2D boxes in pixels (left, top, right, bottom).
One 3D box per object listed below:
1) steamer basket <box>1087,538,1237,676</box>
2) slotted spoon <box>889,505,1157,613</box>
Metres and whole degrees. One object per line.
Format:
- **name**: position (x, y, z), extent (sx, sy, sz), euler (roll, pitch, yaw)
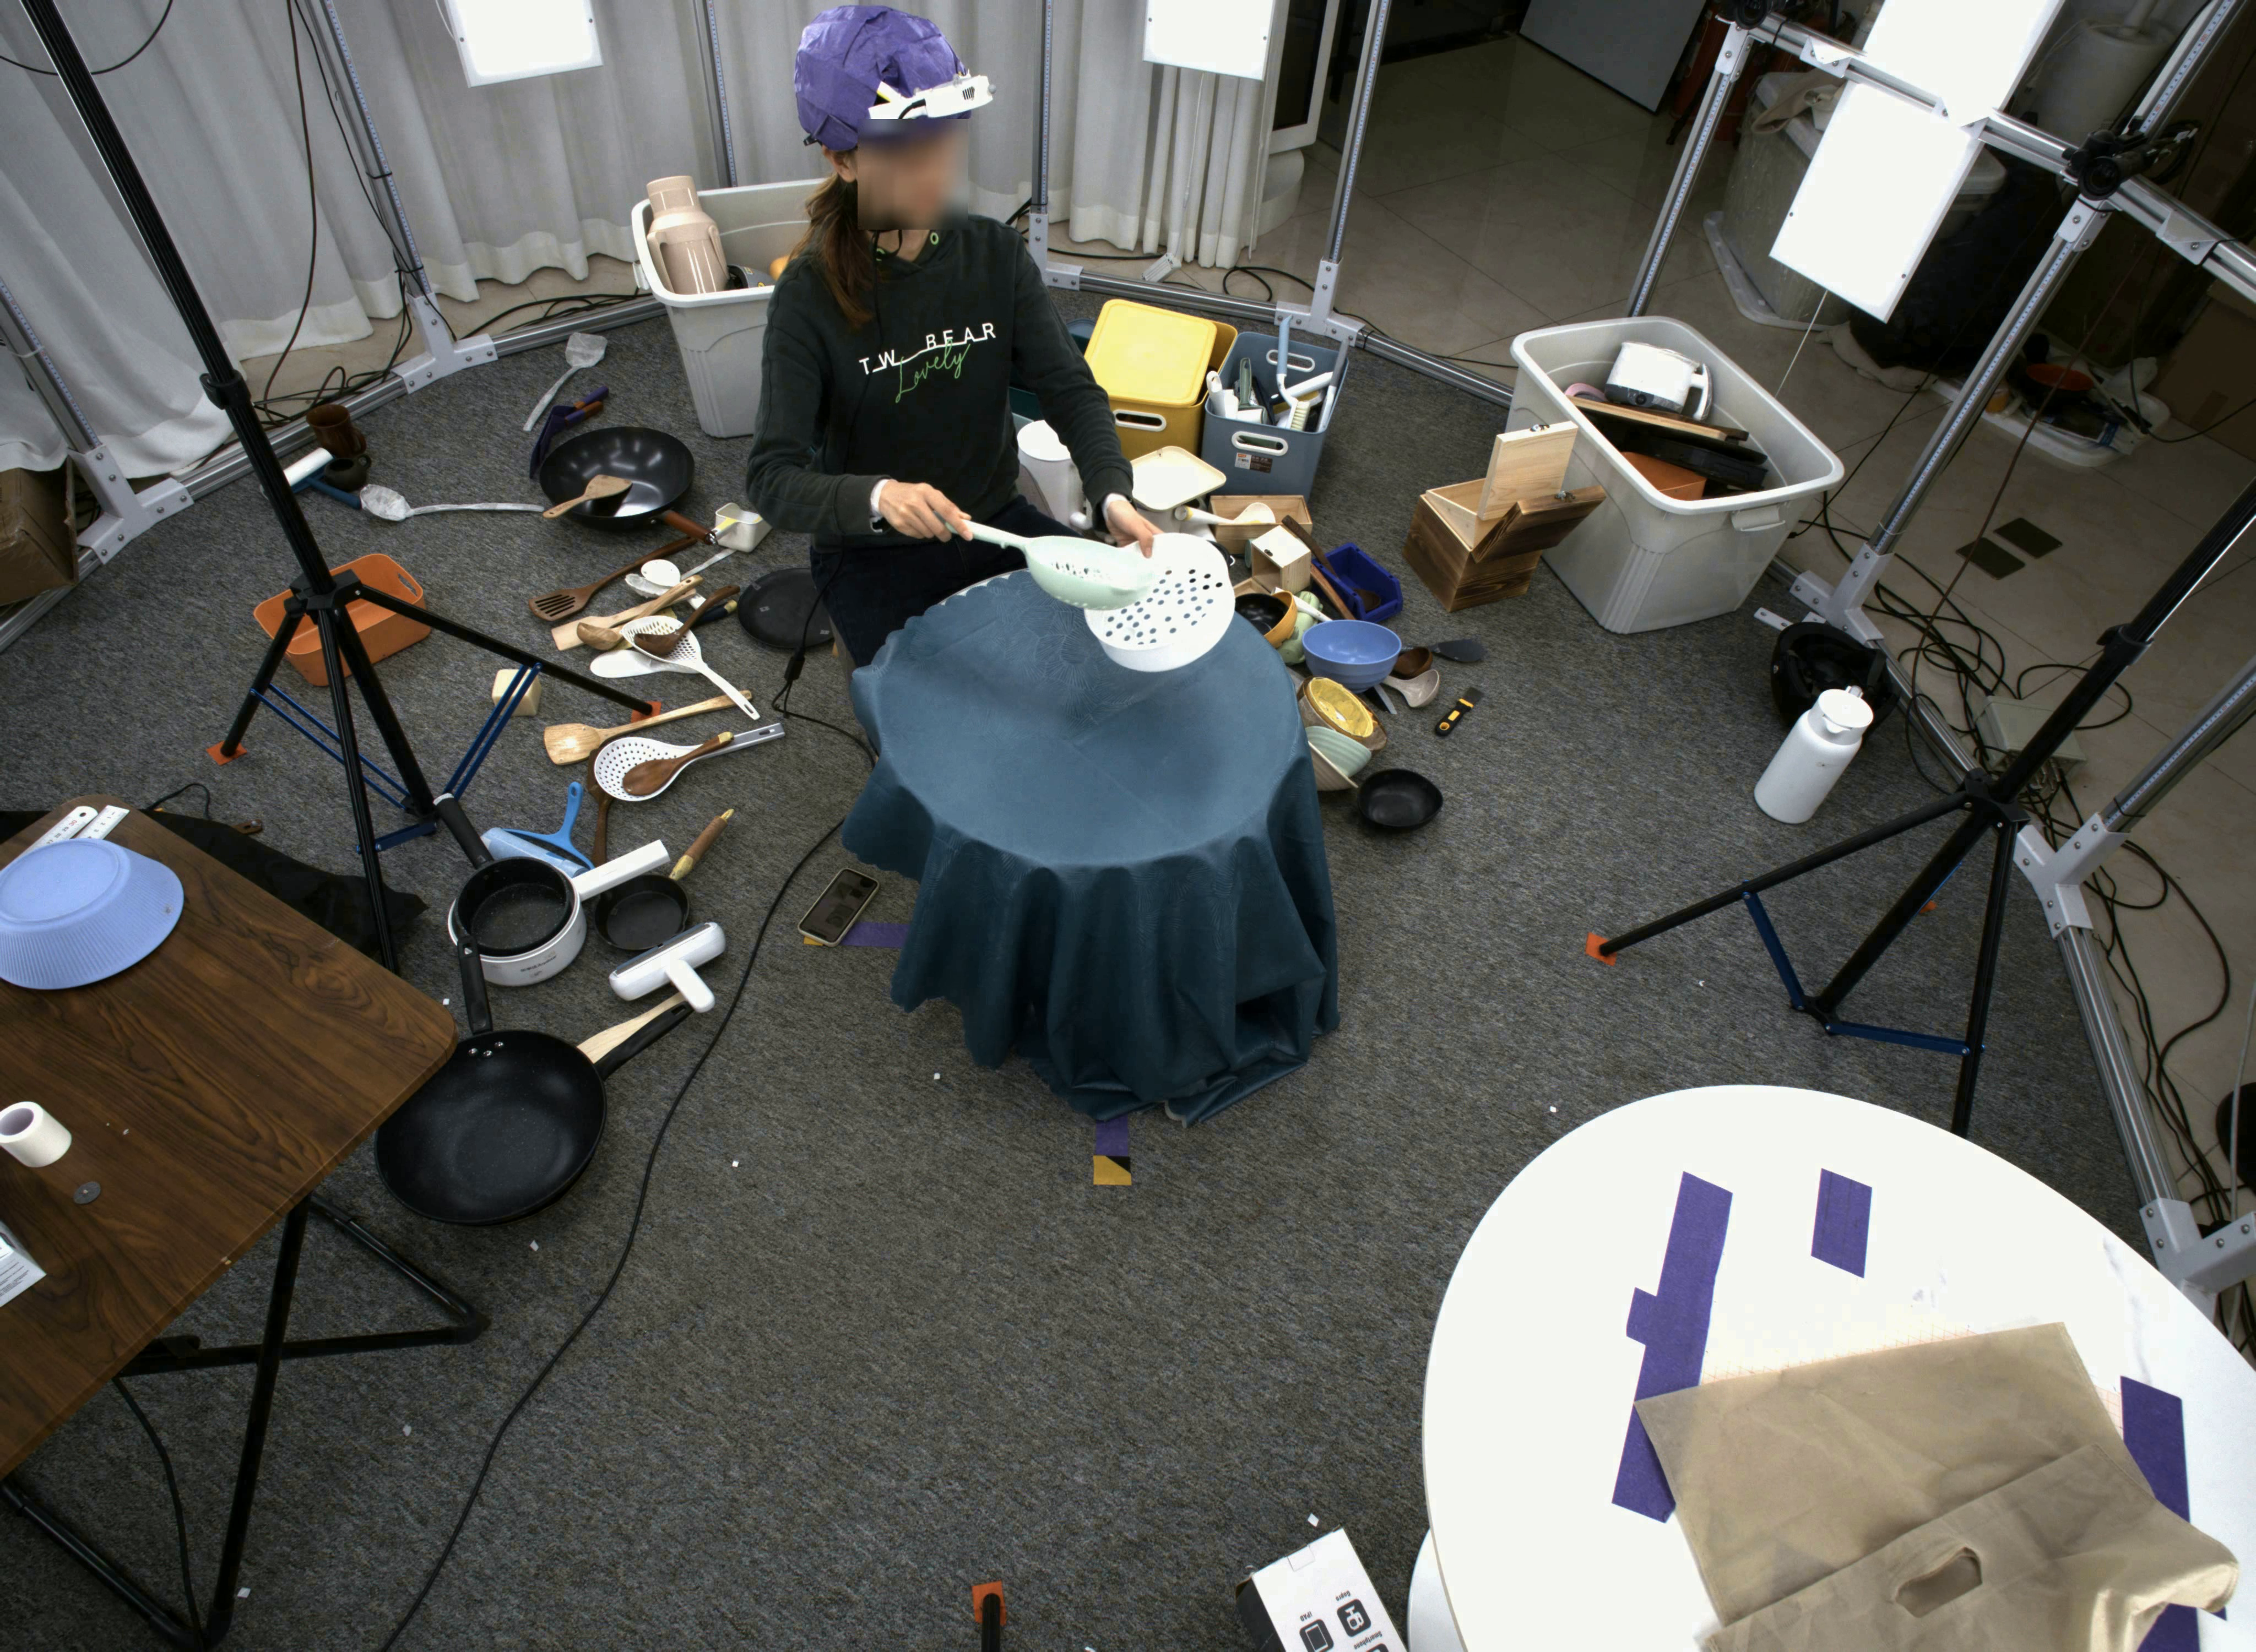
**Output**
- **steamer basket**: position (0.049, -0.294, 1.736), extent (0.234, 0.067, 0.203), euler (32, 72, 36)
- **slotted spoon**: position (-0.140, -0.361, 1.679), extent (0.359, 0.074, 0.172), euler (26, 26, 3)
